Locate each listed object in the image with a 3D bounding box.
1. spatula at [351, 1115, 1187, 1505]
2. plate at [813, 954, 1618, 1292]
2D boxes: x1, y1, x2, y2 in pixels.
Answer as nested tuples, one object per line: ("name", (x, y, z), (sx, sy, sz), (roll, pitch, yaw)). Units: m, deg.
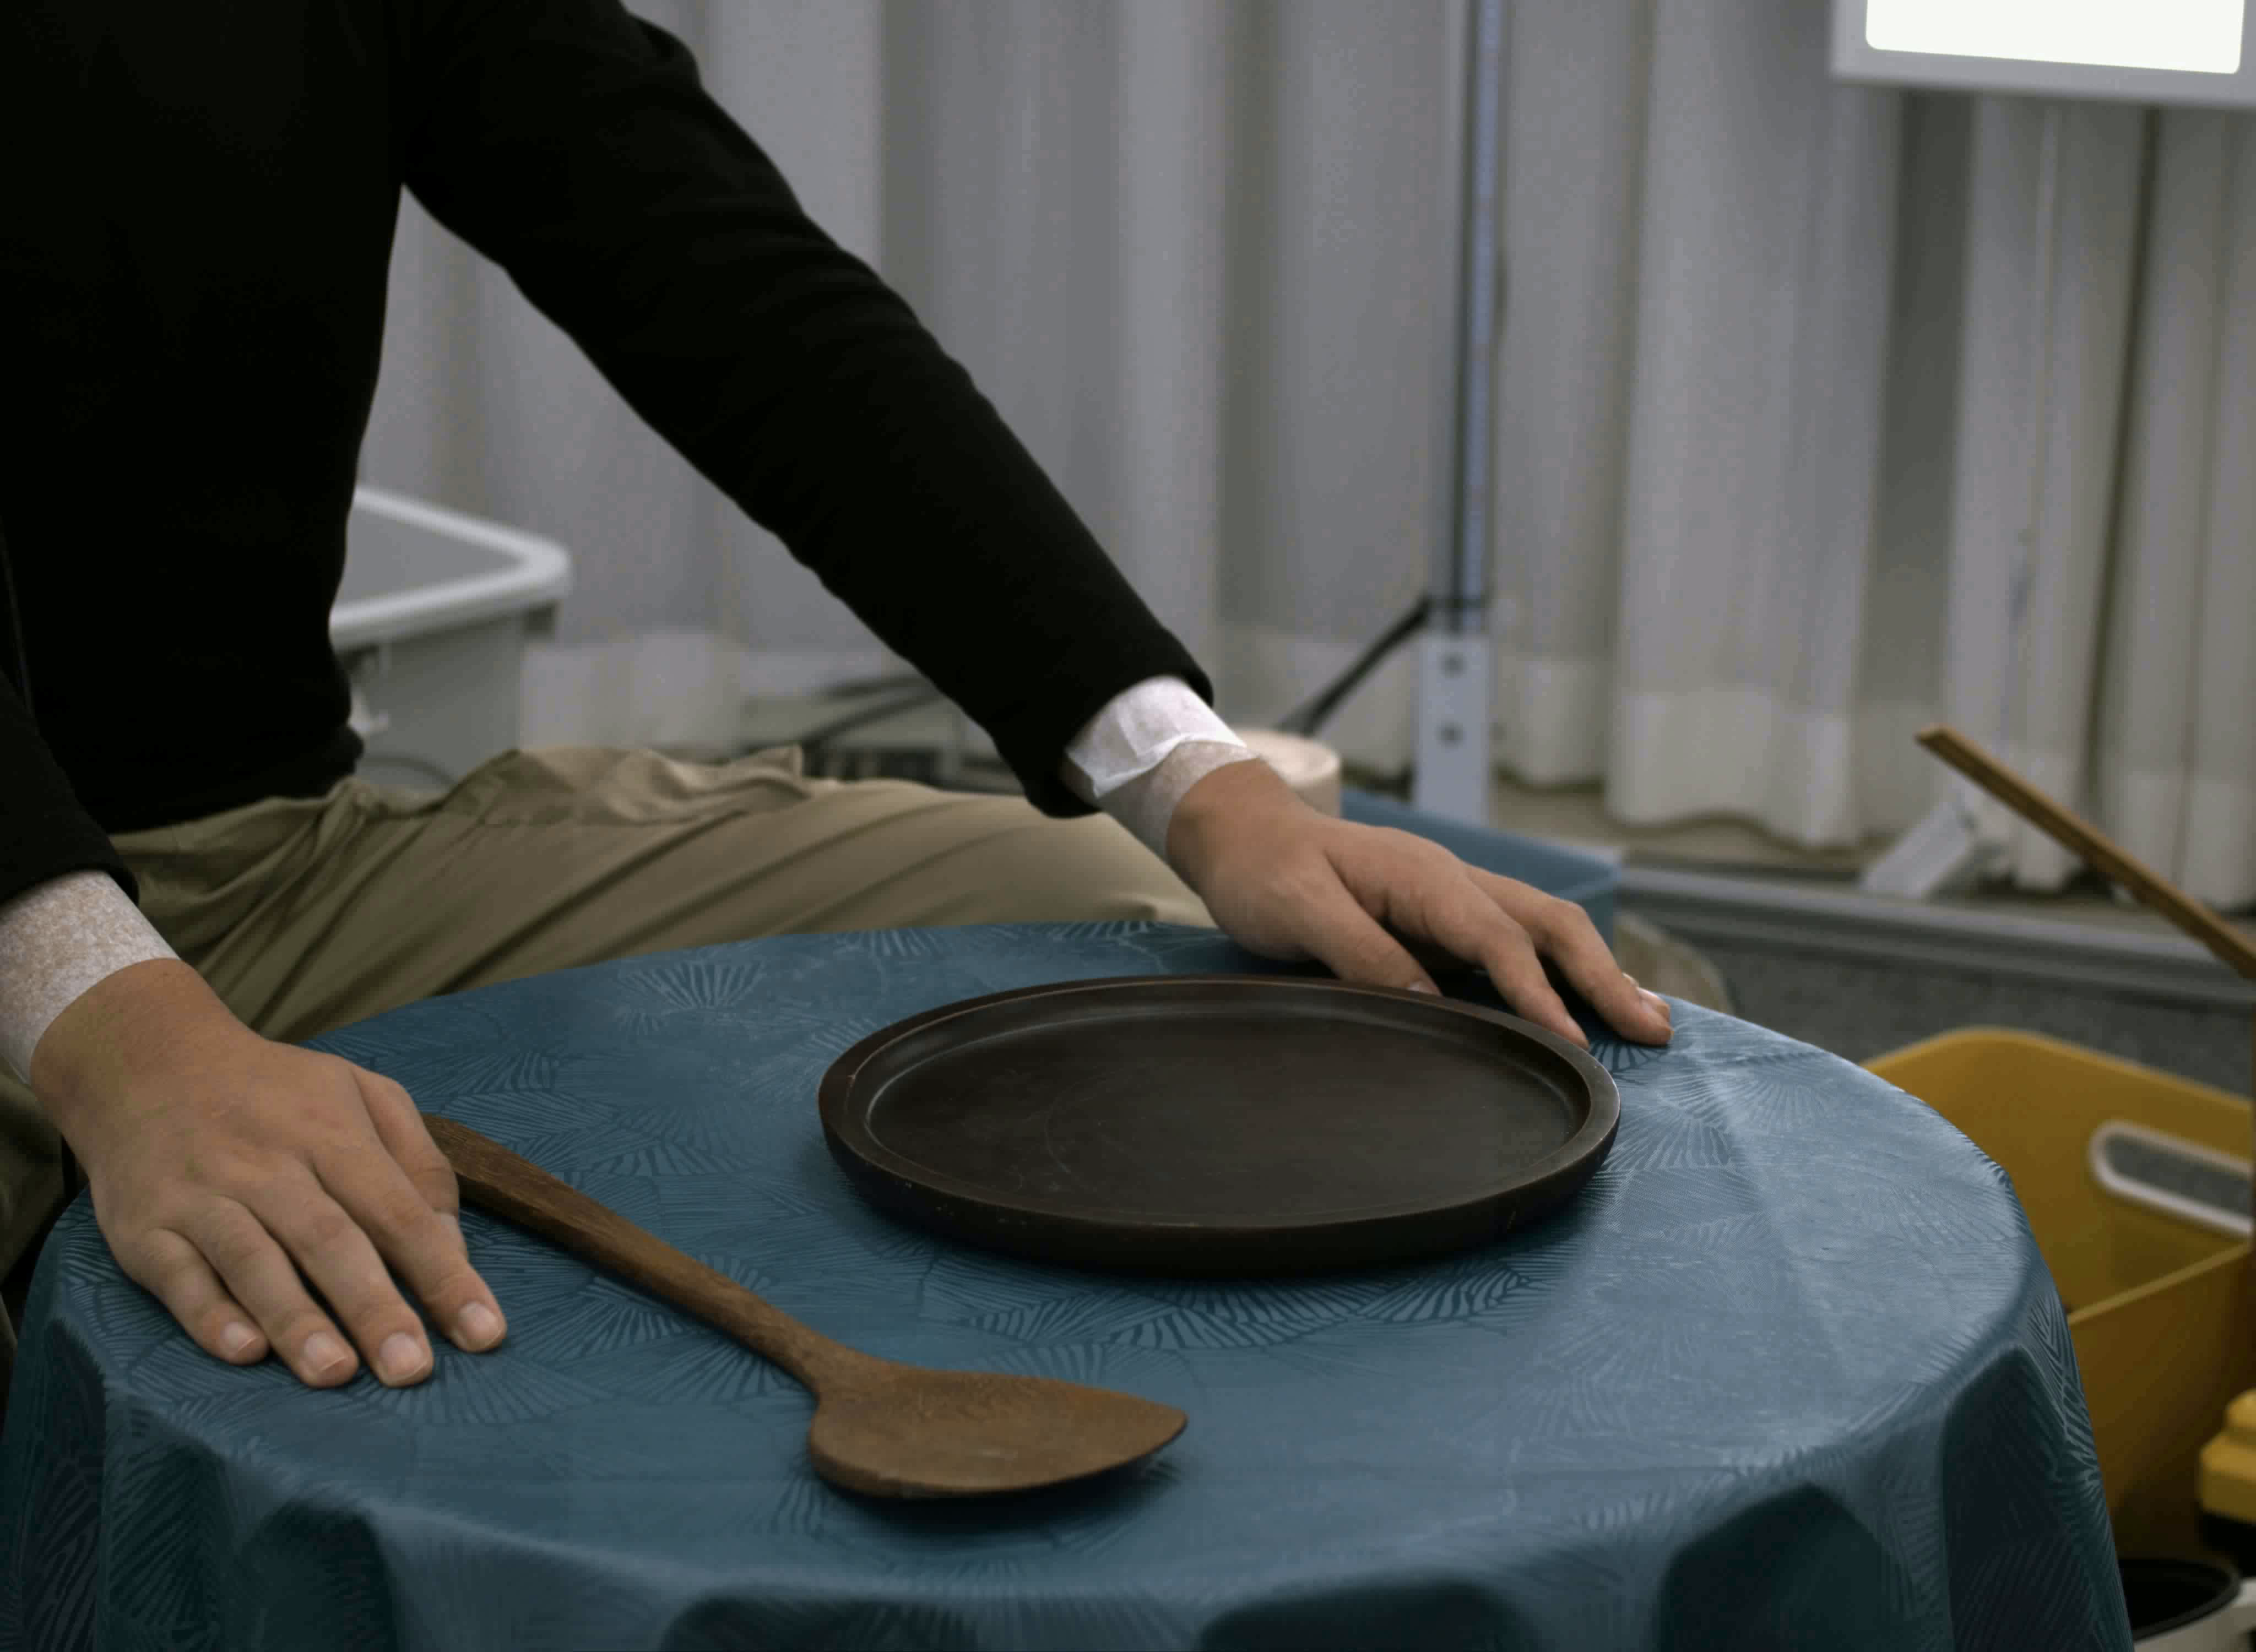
("spatula", (-0.126, 0.133, 1.516), (0.096, 0.016, 0.381), (-10, 19, -36))
("plate", (0.027, 0.093, 1.651), (0.254, 0.029, 0.253), (0, 17, 0))
